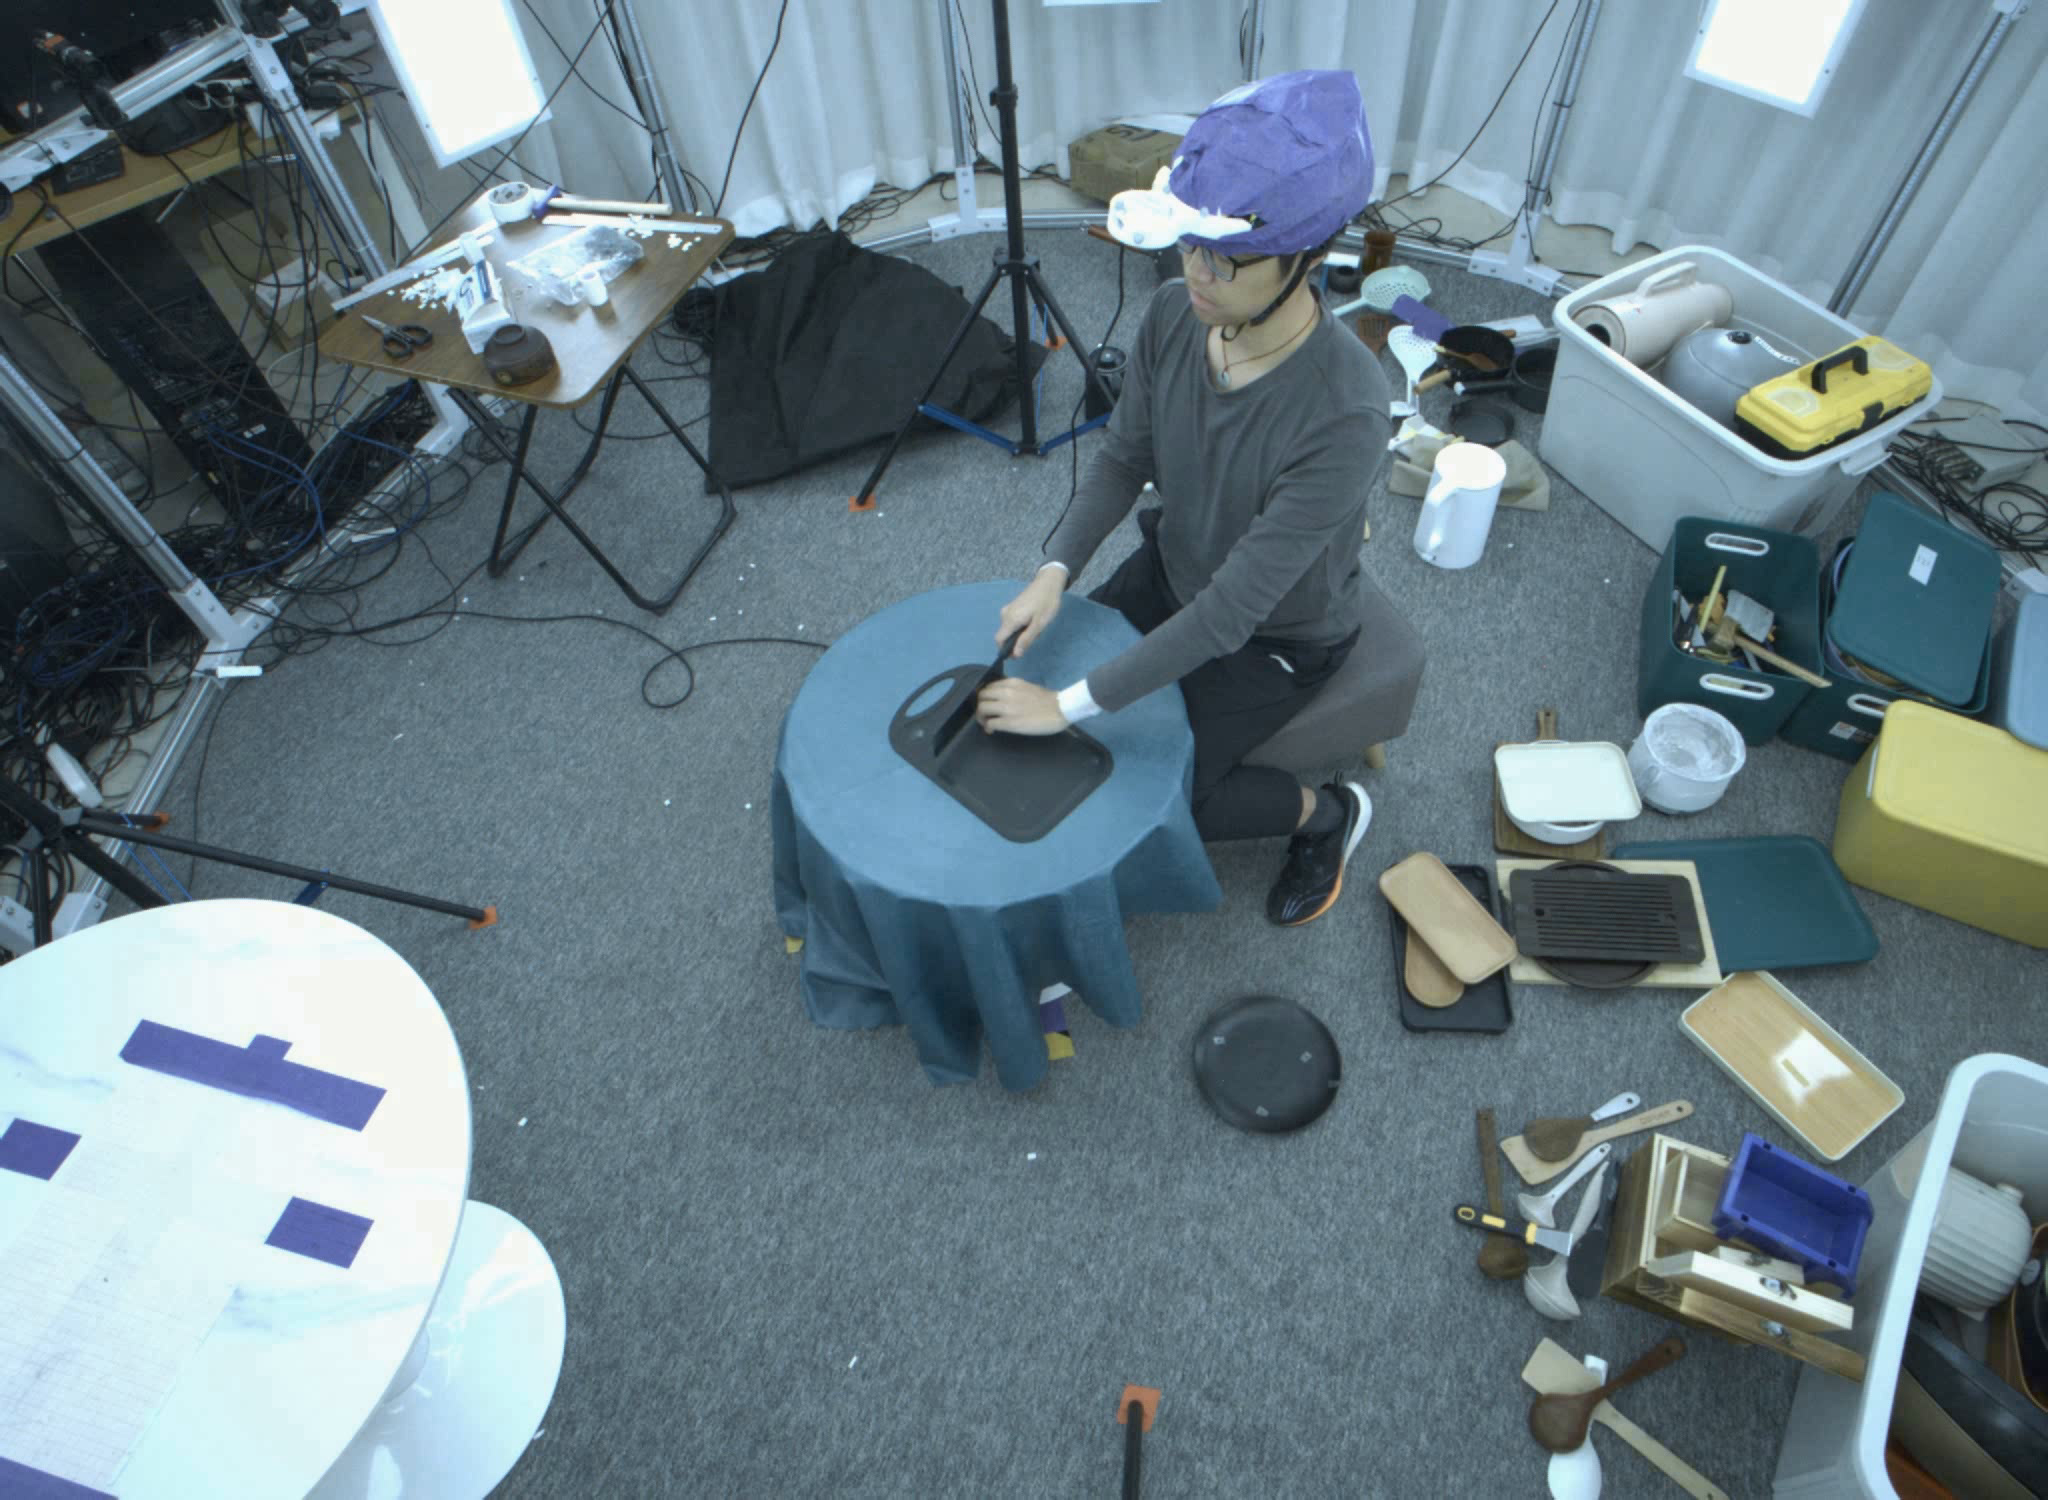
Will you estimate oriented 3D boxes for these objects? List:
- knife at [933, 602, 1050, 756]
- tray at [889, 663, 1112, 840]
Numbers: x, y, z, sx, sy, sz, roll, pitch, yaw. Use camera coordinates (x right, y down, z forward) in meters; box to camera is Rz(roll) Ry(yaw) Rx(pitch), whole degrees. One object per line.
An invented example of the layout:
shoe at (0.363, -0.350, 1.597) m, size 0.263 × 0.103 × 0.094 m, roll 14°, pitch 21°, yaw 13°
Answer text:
knife at (-0.048, -0.111, 1.809) m, size 0.020 × 0.081 × 0.303 m, roll 29°, pitch 64°, yaw 15°
tray at (-0.044, -0.009, 1.799) m, size 0.319 × 0.010 × 0.212 m, roll 38°, pitch 63°, yaw 24°
